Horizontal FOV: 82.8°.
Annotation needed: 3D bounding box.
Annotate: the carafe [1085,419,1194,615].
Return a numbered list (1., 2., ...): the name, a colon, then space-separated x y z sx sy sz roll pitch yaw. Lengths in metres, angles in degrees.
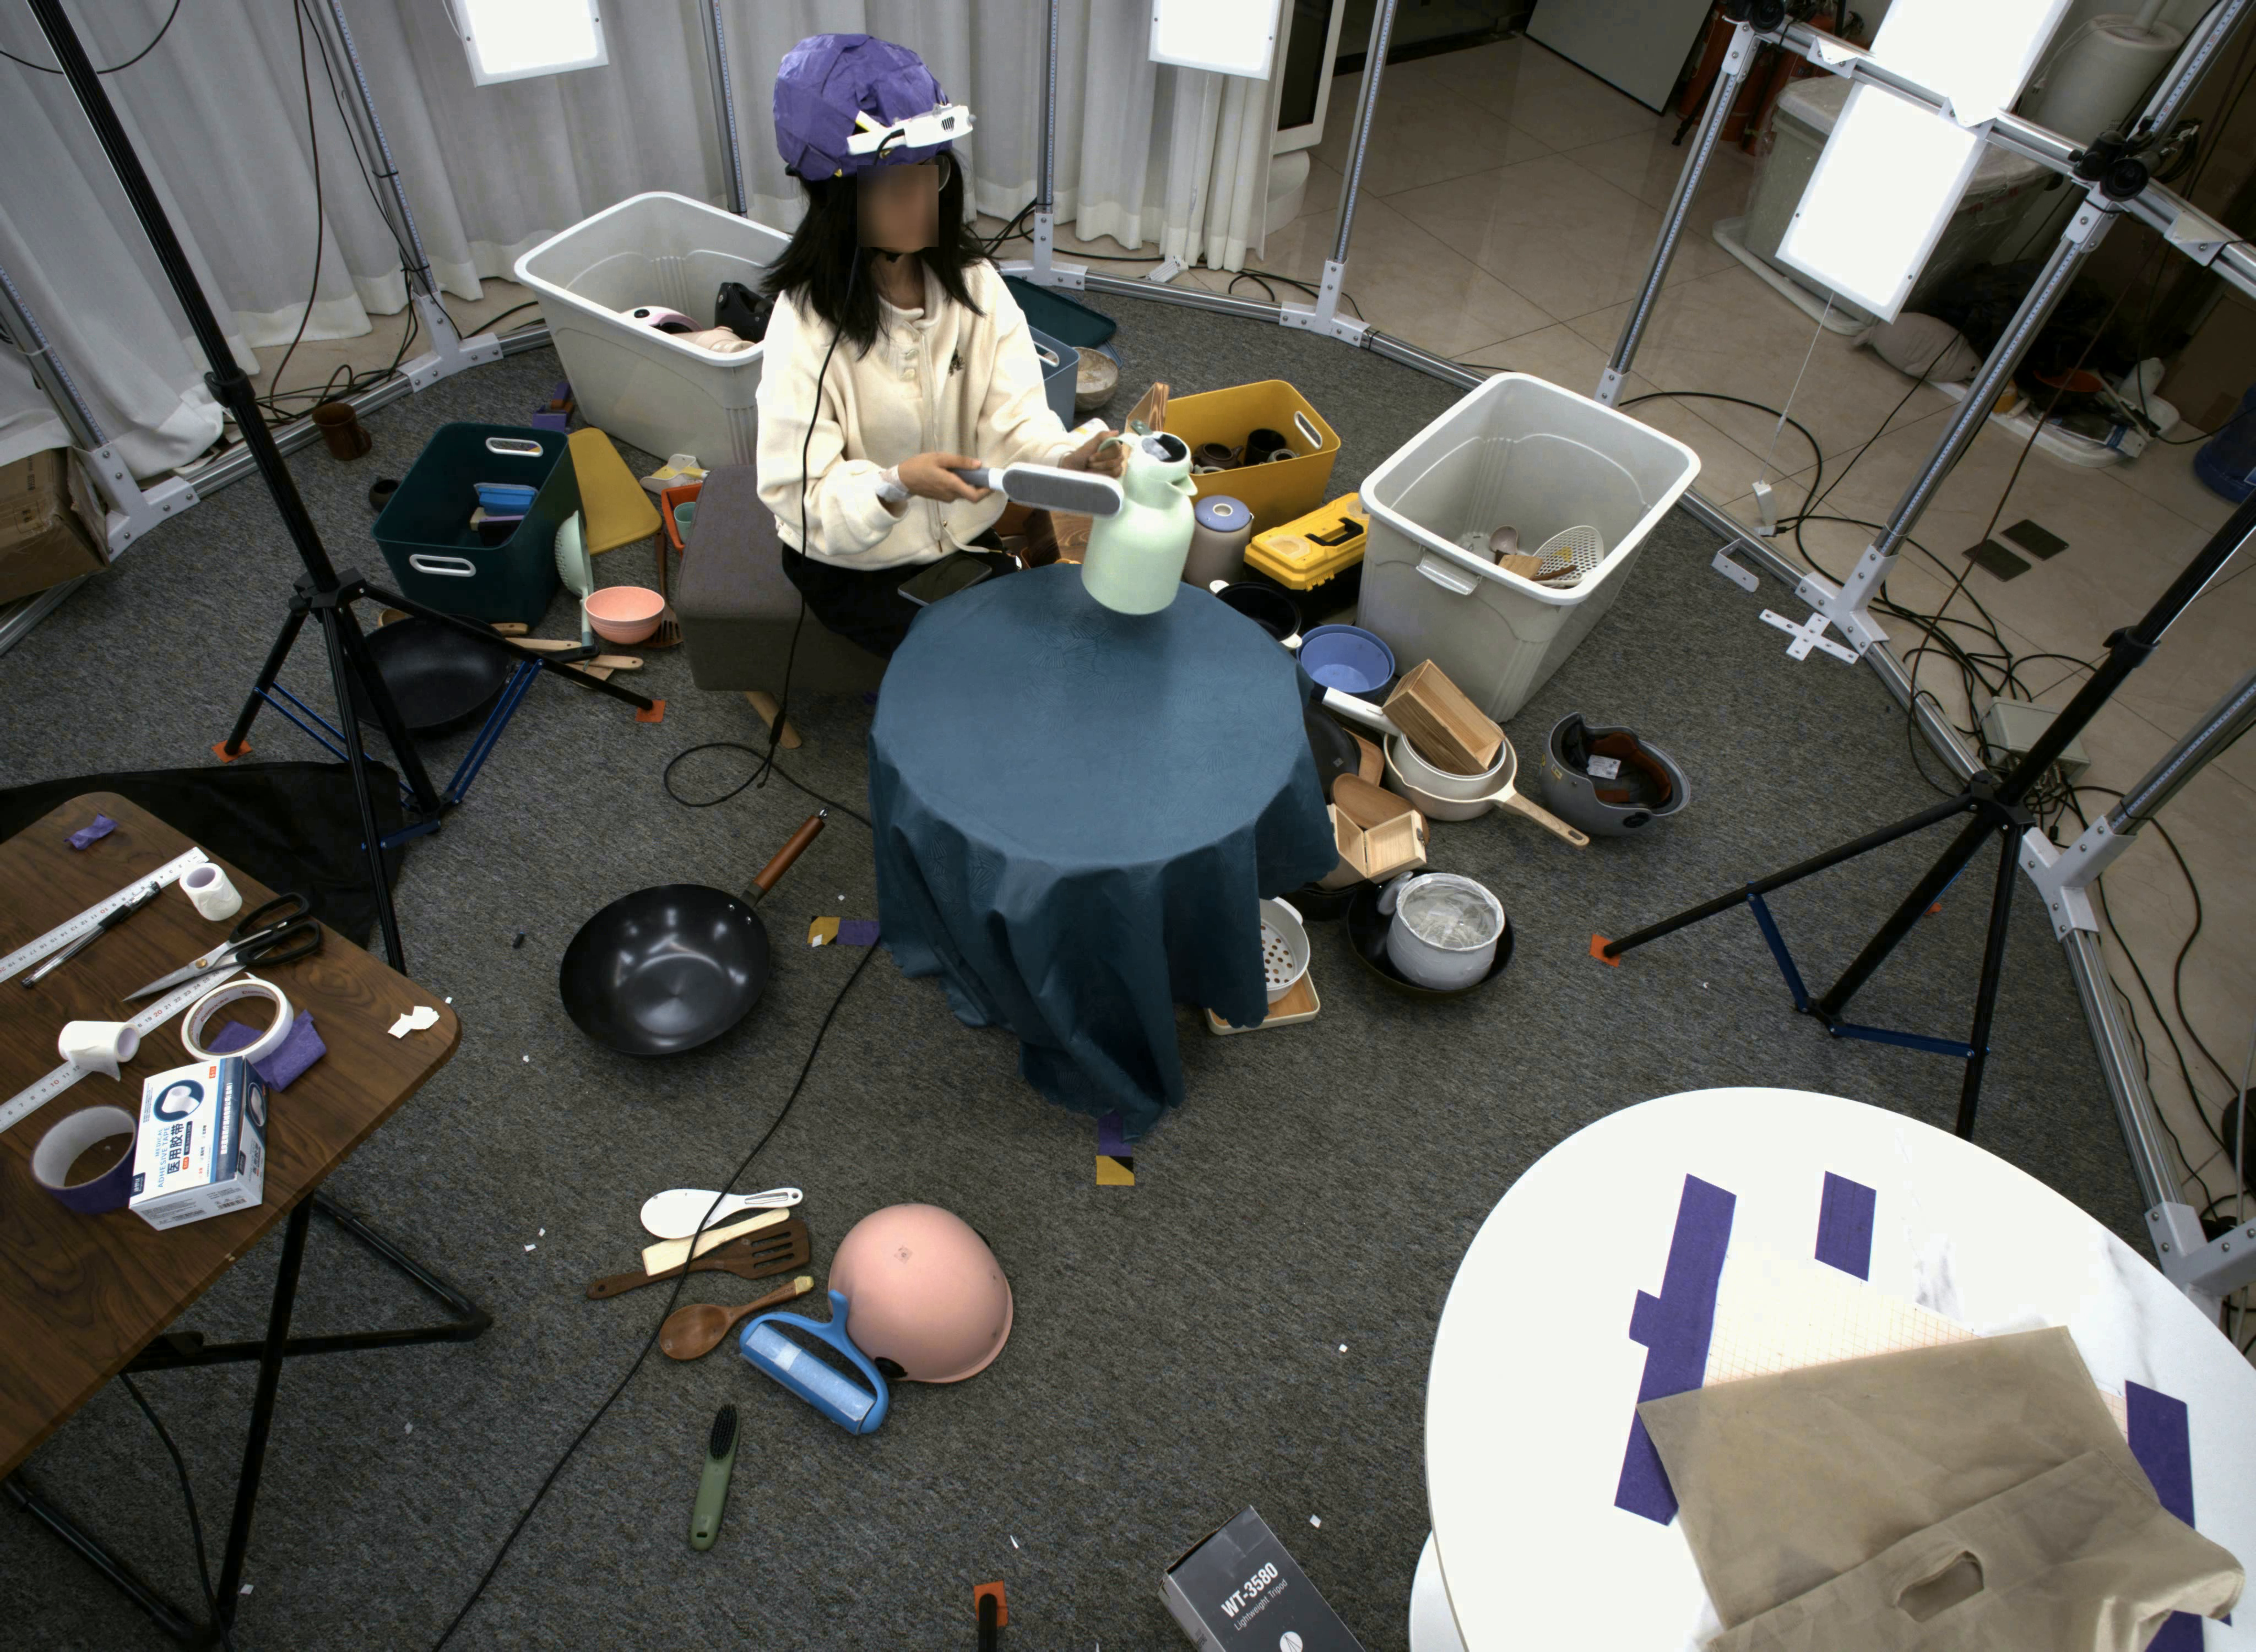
1. carafe: 0.015 -0.443 1.832 0.145 0.251 0.190 -26 57 -29

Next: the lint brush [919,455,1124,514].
1. lint brush: -0.150 -0.478 1.781 0.310 0.058 0.021 13 43 18
